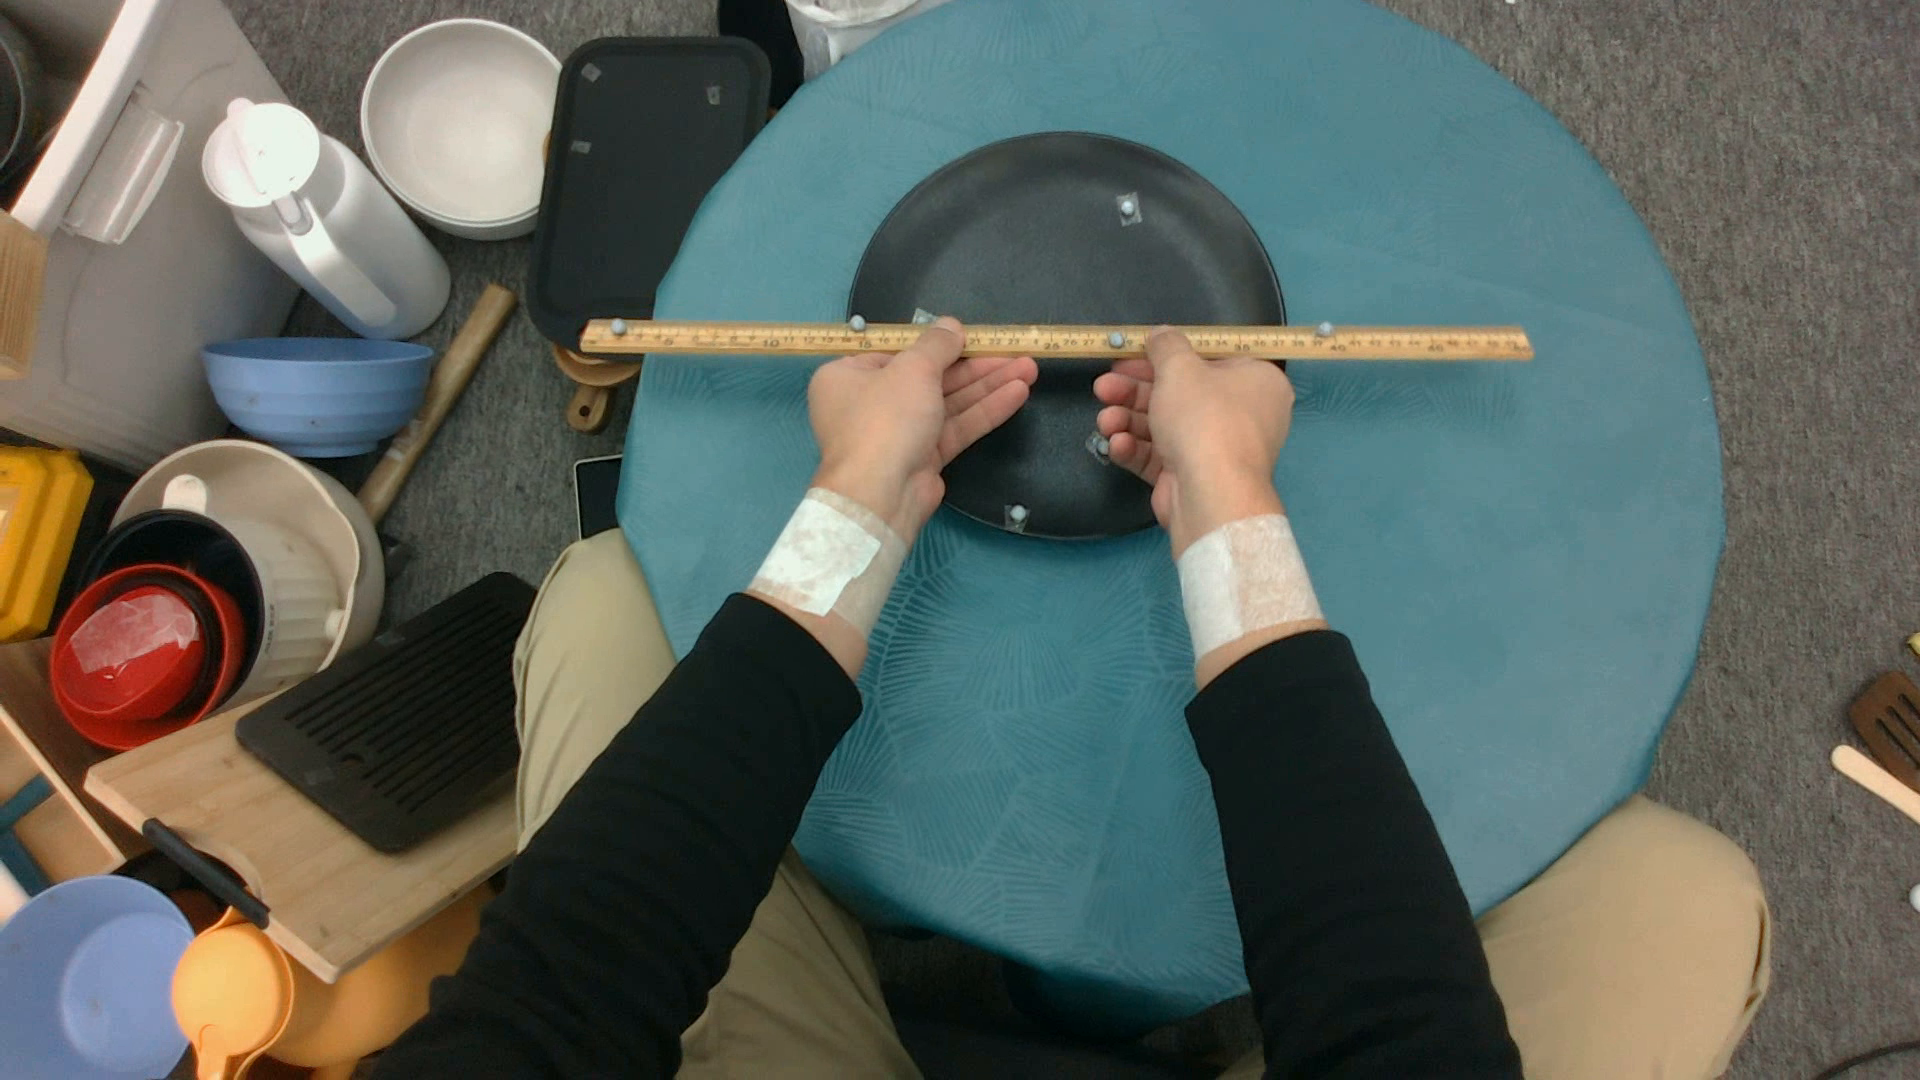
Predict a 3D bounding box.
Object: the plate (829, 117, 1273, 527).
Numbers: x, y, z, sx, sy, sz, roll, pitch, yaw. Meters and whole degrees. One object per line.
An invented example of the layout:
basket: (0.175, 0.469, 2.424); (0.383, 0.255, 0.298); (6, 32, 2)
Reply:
plate: (0.050, -0.122, 0.764); (0.244, 0.023, 0.245); (0, 75, 0)

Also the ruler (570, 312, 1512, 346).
ruler: (0.041, -0.113, 0.737); (0.500, 0.006, 0.027); (0, 42, 2)
